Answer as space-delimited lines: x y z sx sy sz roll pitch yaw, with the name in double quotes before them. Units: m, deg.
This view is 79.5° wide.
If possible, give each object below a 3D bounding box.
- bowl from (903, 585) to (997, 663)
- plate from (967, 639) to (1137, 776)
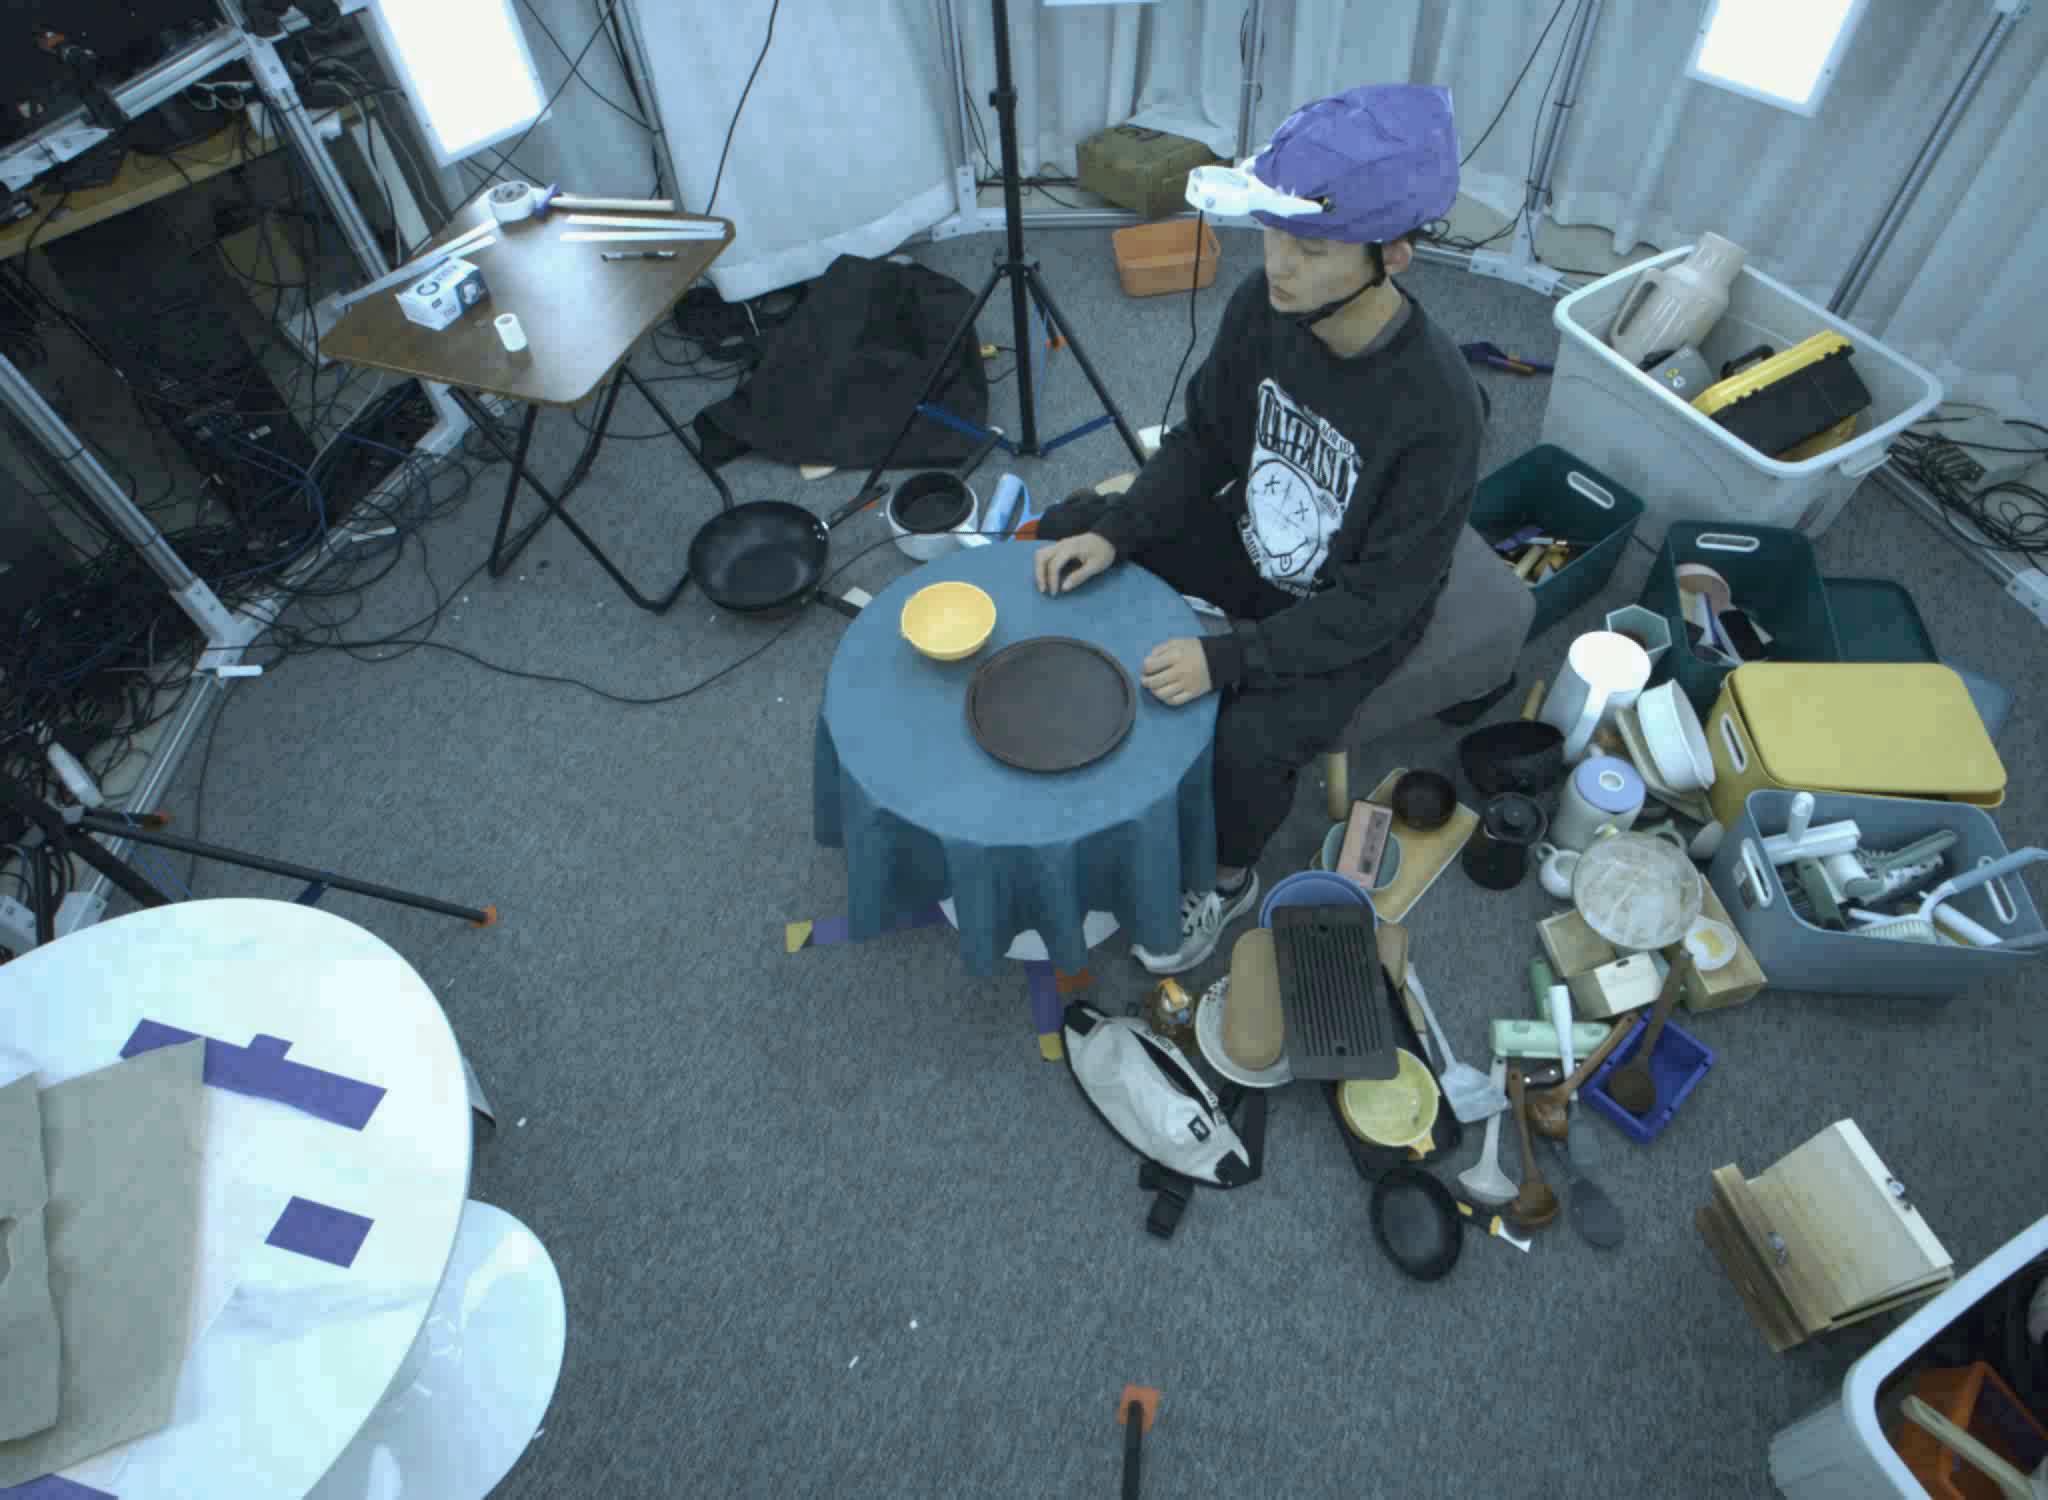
"bowl" -0.113 -0.183 1.895 0.145 0.060 0.144 1 55 0
"plate" 0.041 -0.064 1.828 0.254 0.029 0.252 -1 53 2
